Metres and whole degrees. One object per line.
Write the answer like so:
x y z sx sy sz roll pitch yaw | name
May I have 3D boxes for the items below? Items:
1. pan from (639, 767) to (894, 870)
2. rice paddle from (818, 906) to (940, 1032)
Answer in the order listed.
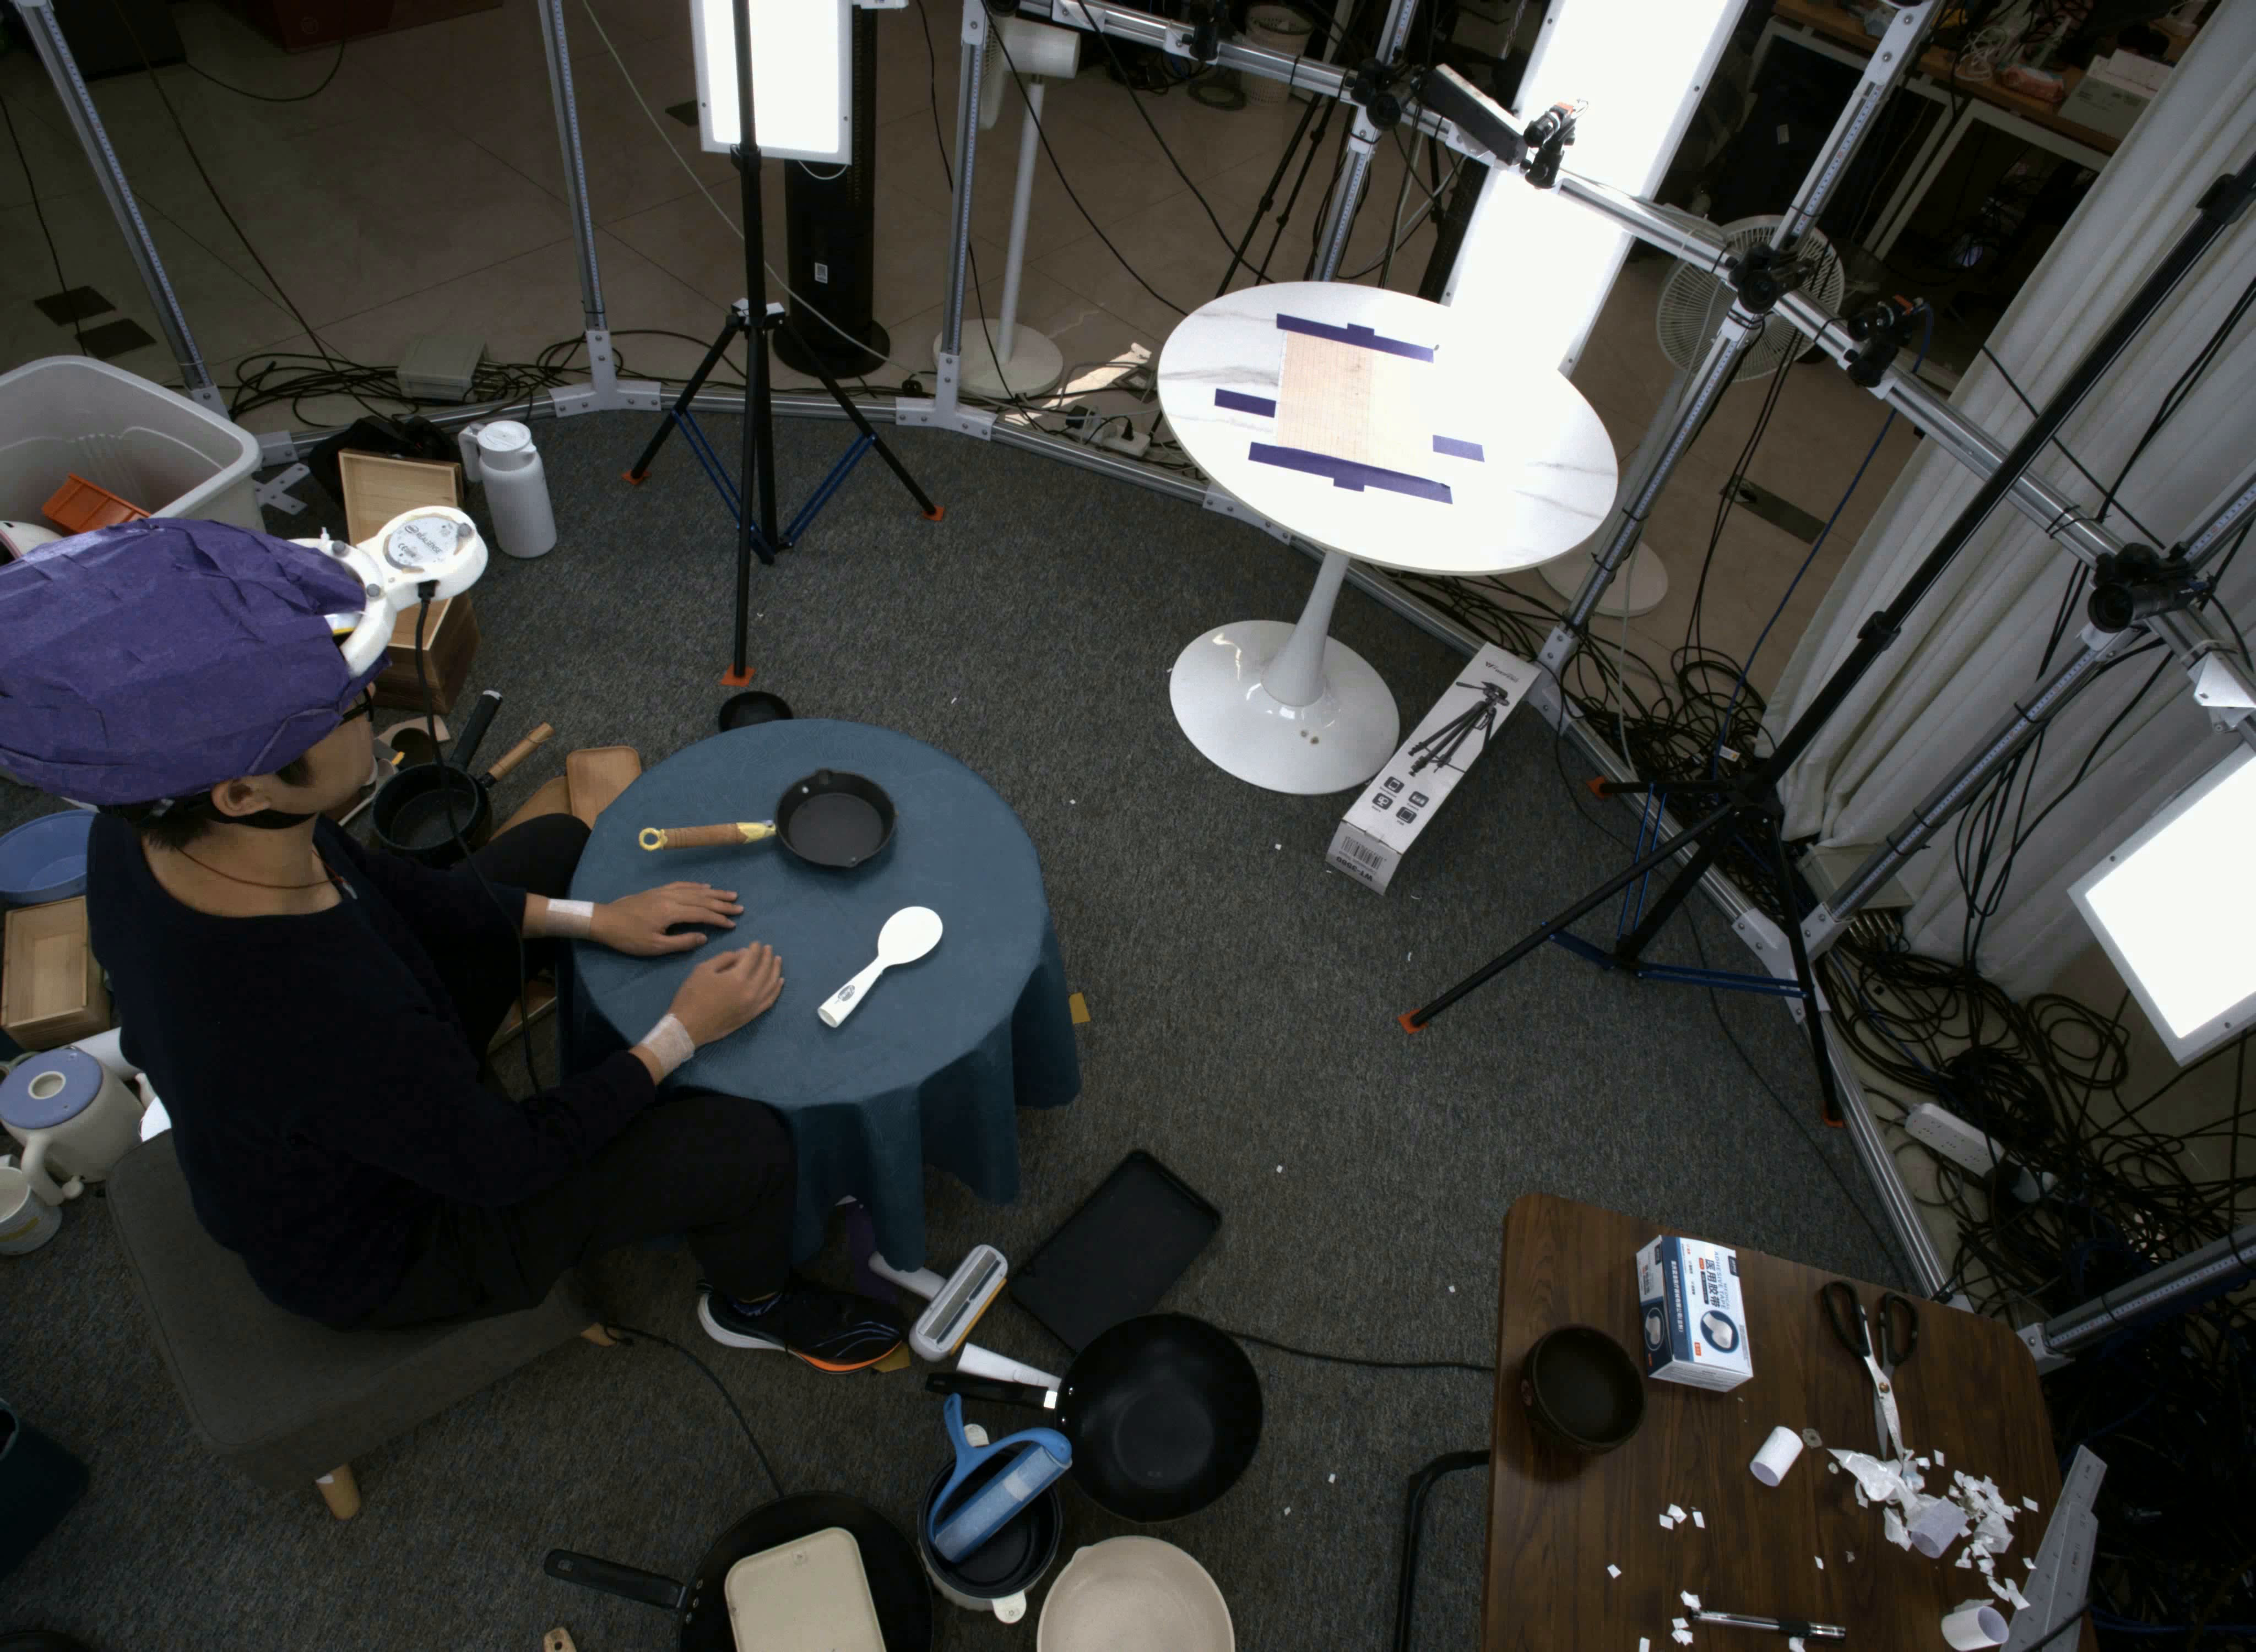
-0.463 0.002 1.669 0.326 0.050 0.165 -7 56 -22 | pan
-0.305 0.168 1.601 0.068 0.030 0.205 33 53 9 | rice paddle
